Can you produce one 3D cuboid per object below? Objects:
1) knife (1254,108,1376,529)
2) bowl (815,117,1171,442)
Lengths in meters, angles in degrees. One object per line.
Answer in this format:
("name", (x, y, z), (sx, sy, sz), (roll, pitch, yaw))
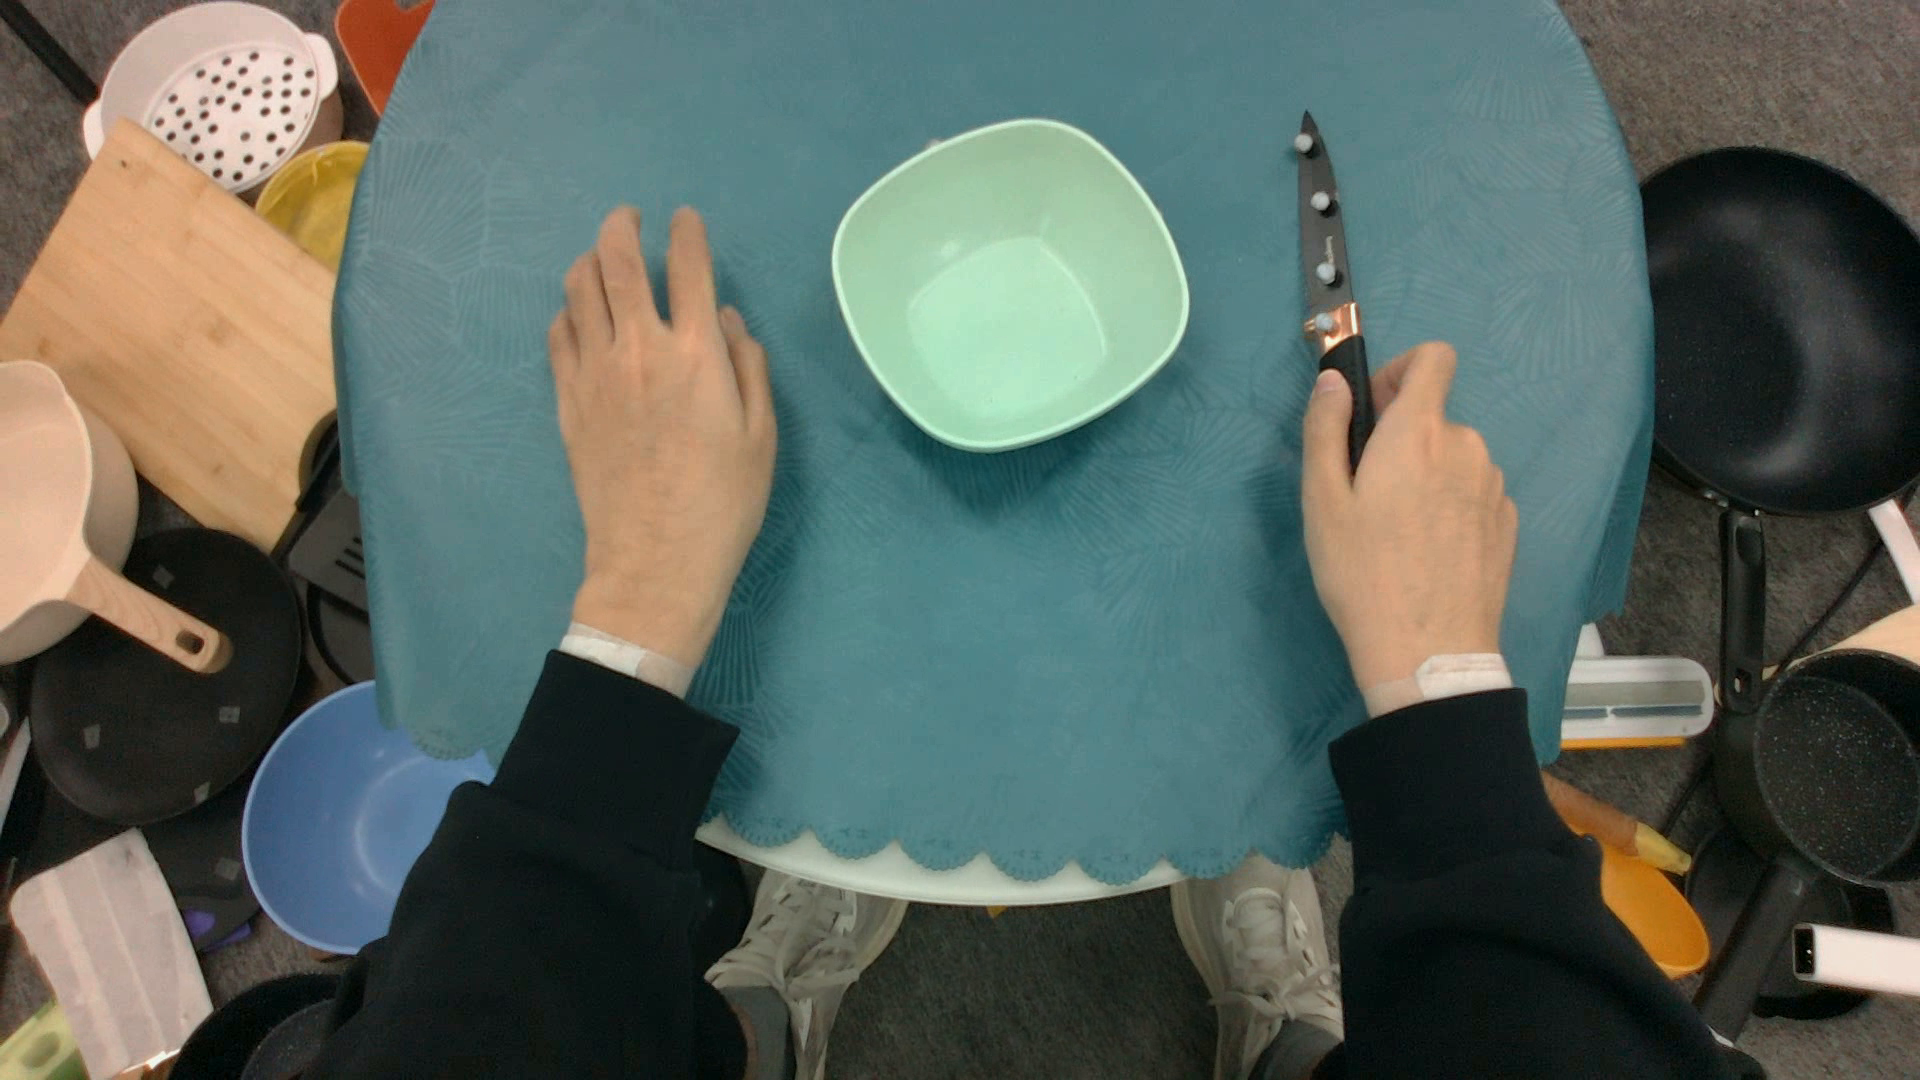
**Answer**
("knife", (0.156, -0.107, 0.613), (0.026, 0.017, 0.226), (-23, 60, 35))
("bowl", (0.013, -0.104, 0.599), (0.151, 0.058, 0.152), (0, 73, -1))
